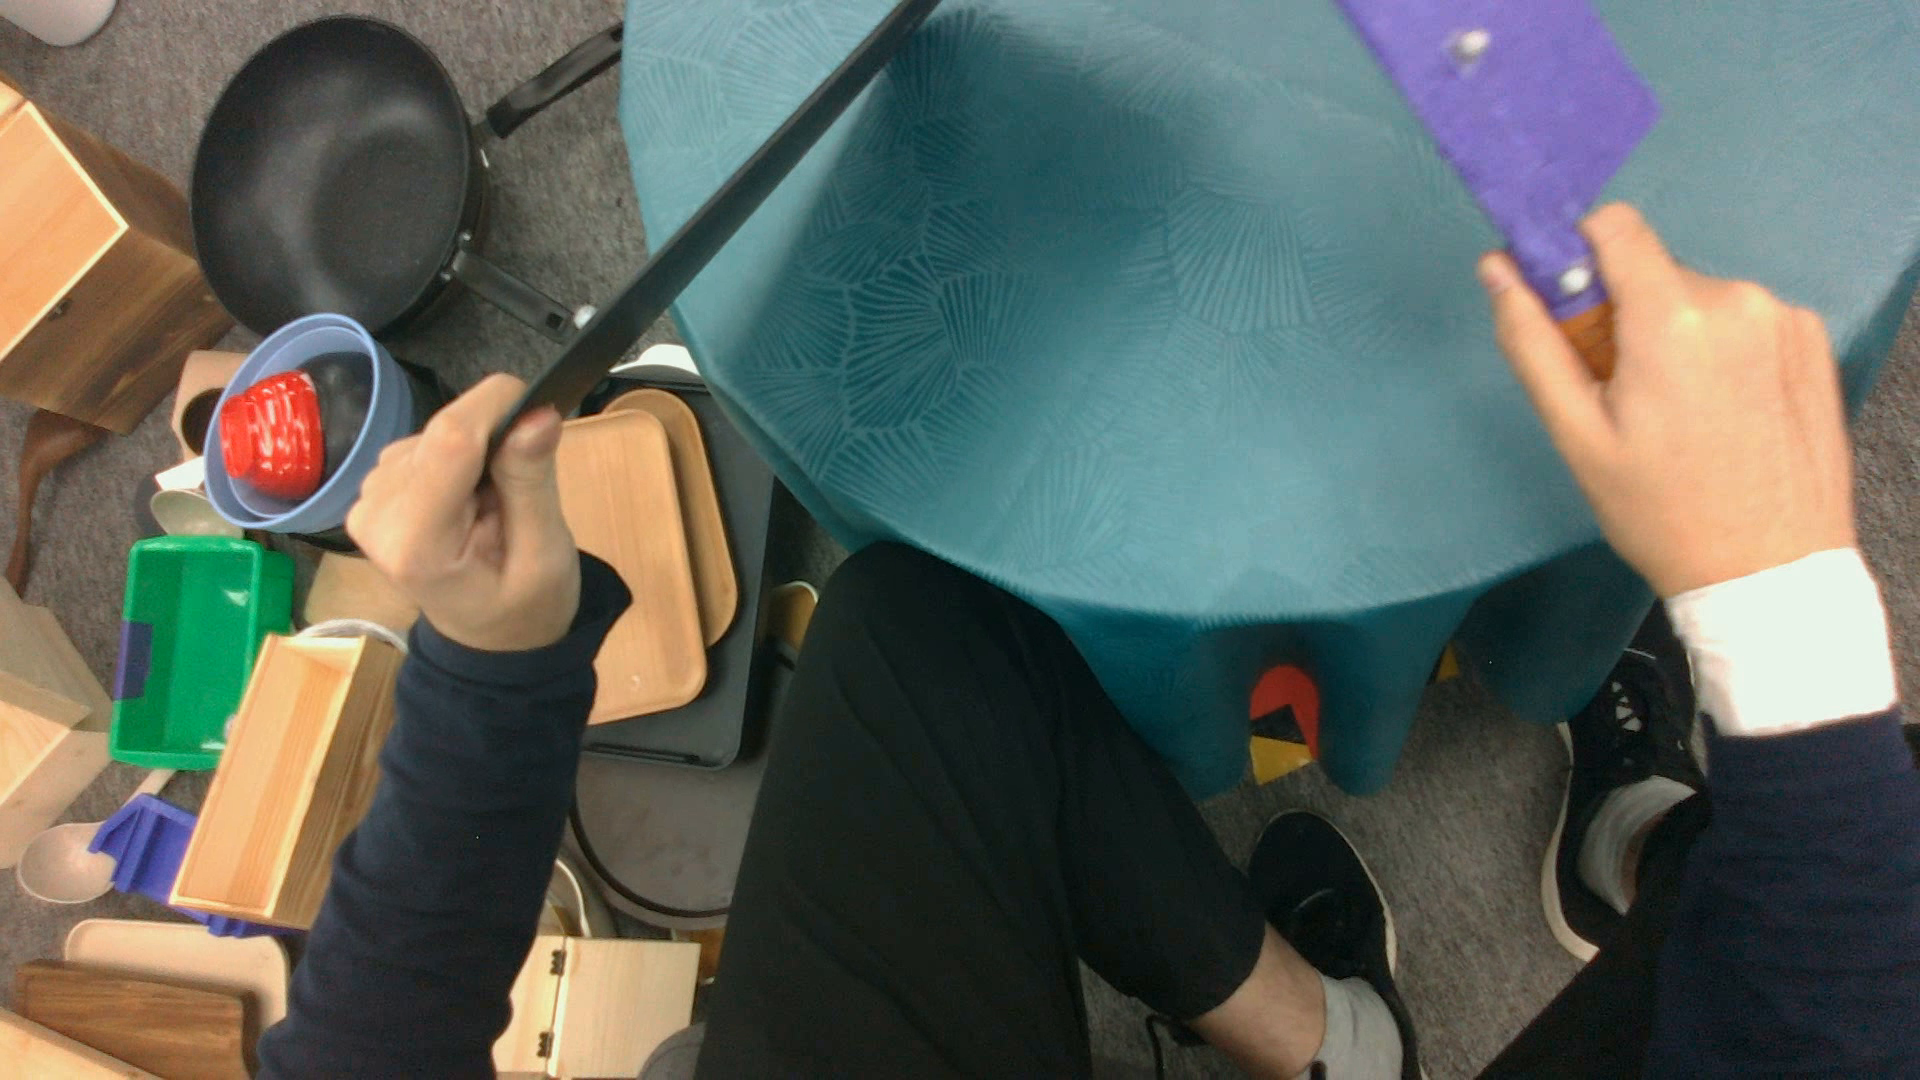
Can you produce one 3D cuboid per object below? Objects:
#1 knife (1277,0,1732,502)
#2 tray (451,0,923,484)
[{"bbox_3d":[0.161,-0.151,0.439,0.315,0.032,0.104,46,67,-16],"label":"knife"},{"bbox_3d":[-0.077,-0.145,0.516,0.010,0.210,0.326,43,75,-14],"label":"tray"}]
